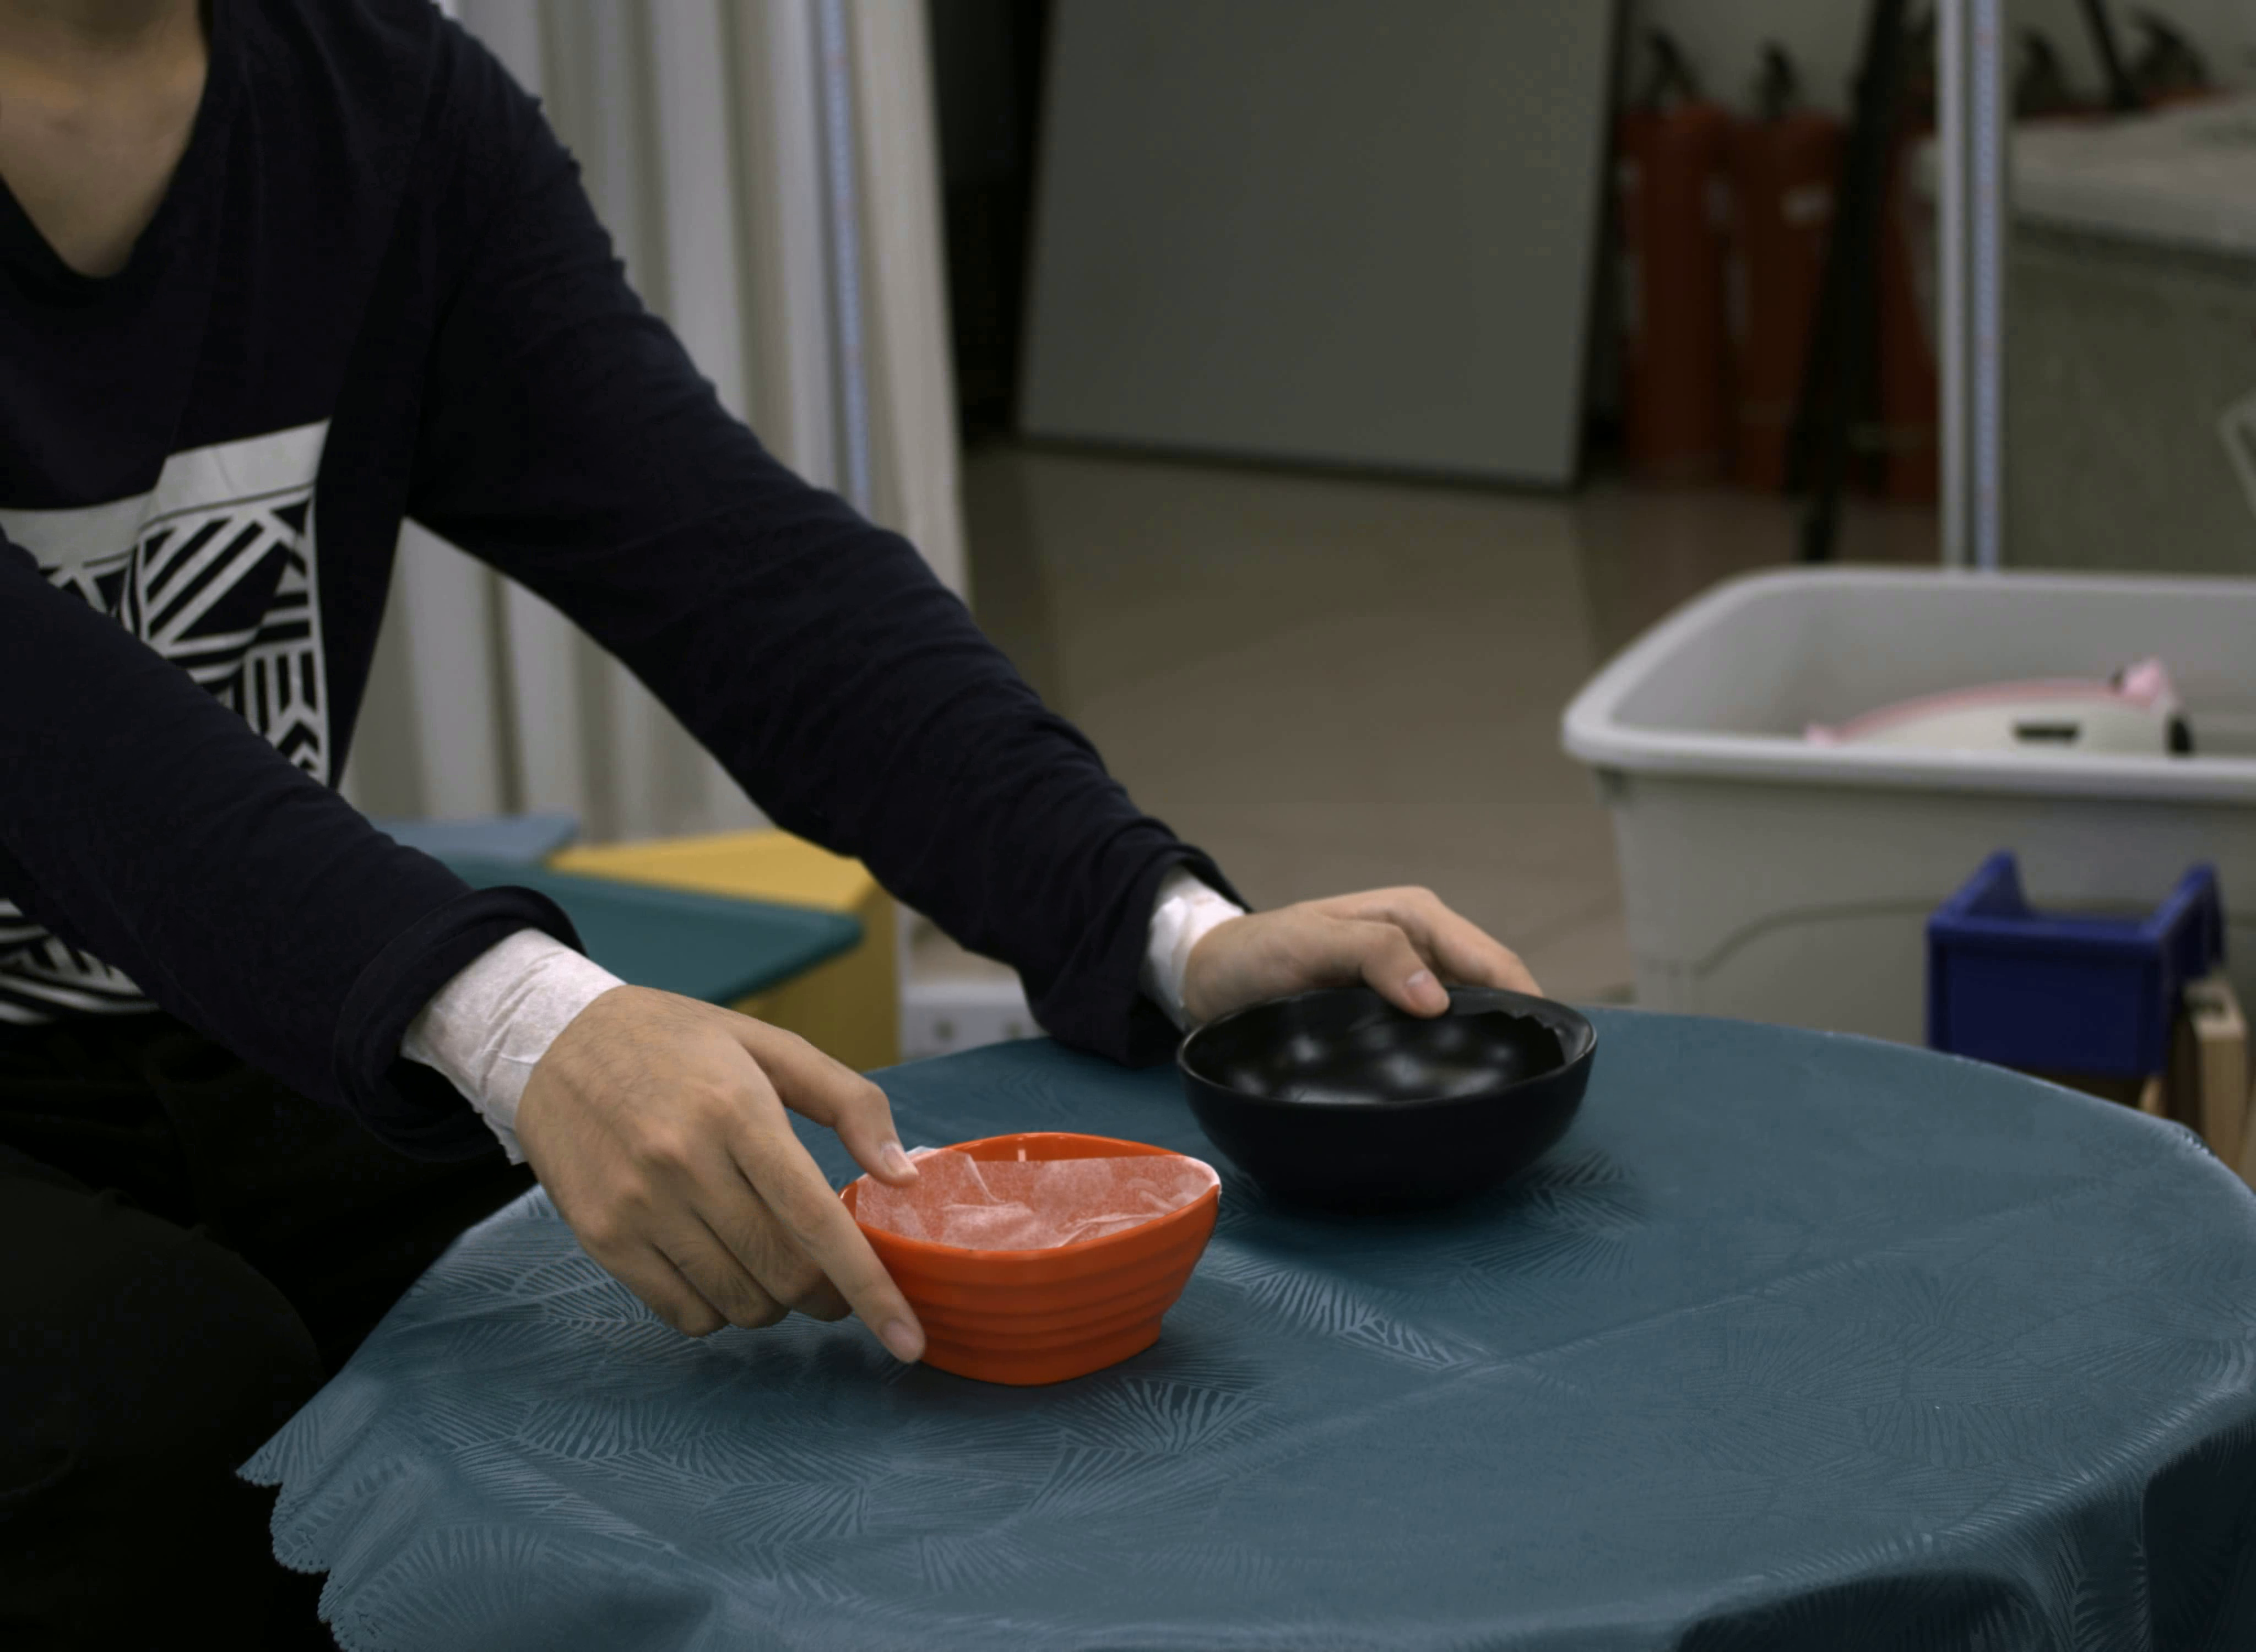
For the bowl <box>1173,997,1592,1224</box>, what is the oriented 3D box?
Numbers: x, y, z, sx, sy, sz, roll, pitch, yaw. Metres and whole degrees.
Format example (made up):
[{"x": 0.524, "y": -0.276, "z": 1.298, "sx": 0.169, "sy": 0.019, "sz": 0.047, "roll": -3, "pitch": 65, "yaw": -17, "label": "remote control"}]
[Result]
[{"x": 0.085, "y": 0.096, "z": 1.759, "sx": 0.138, "sy": 0.050, "sz": 0.140, "roll": -7, "pitch": 11, "yaw": 0, "label": "bowl"}]

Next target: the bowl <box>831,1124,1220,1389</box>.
[{"x": -0.030, "y": 0.132, "z": 1.627, "sx": 0.117, "sy": 0.052, "sz": 0.119, "roll": -4, "pitch": 15, "yaw": 0, "label": "bowl"}]
